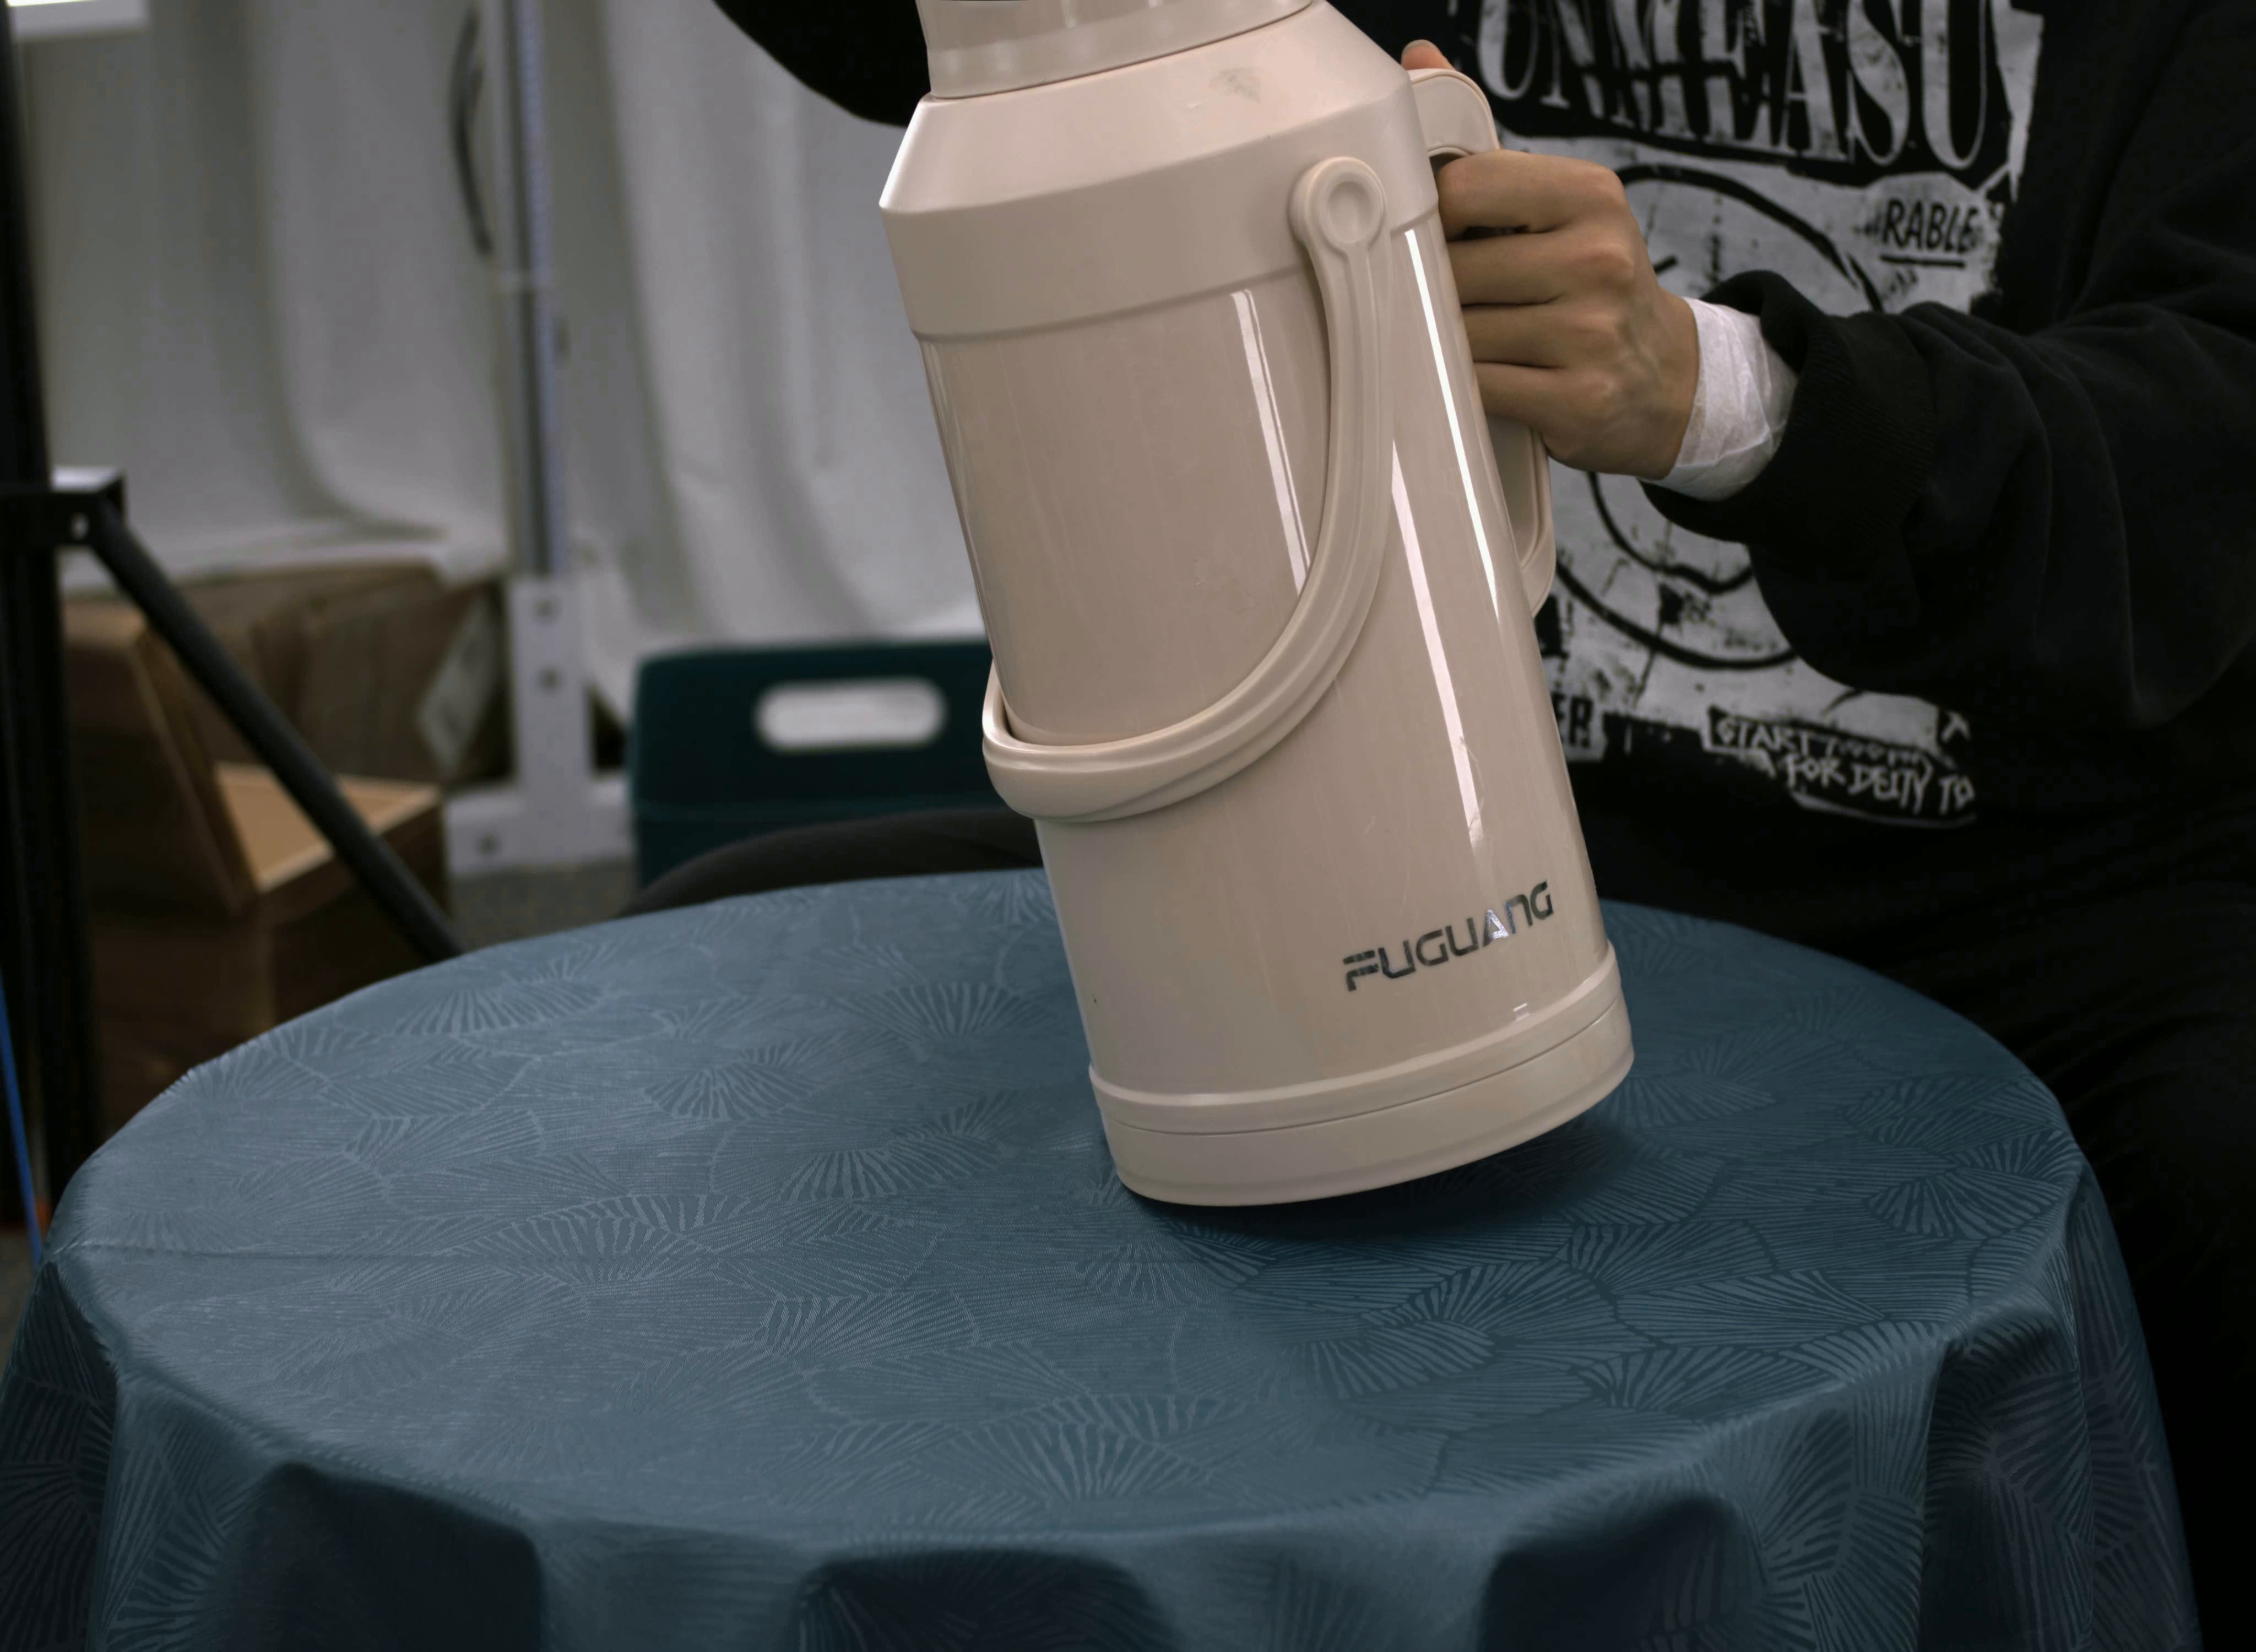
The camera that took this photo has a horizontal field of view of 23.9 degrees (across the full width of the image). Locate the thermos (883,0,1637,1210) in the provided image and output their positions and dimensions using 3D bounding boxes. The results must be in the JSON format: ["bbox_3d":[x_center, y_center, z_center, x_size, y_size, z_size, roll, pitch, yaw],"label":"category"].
[{"bbox_3d":[0.040,-0.108,1.537,0.203,0.406,0.179,-22,13,-33],"label":"thermos"}]
